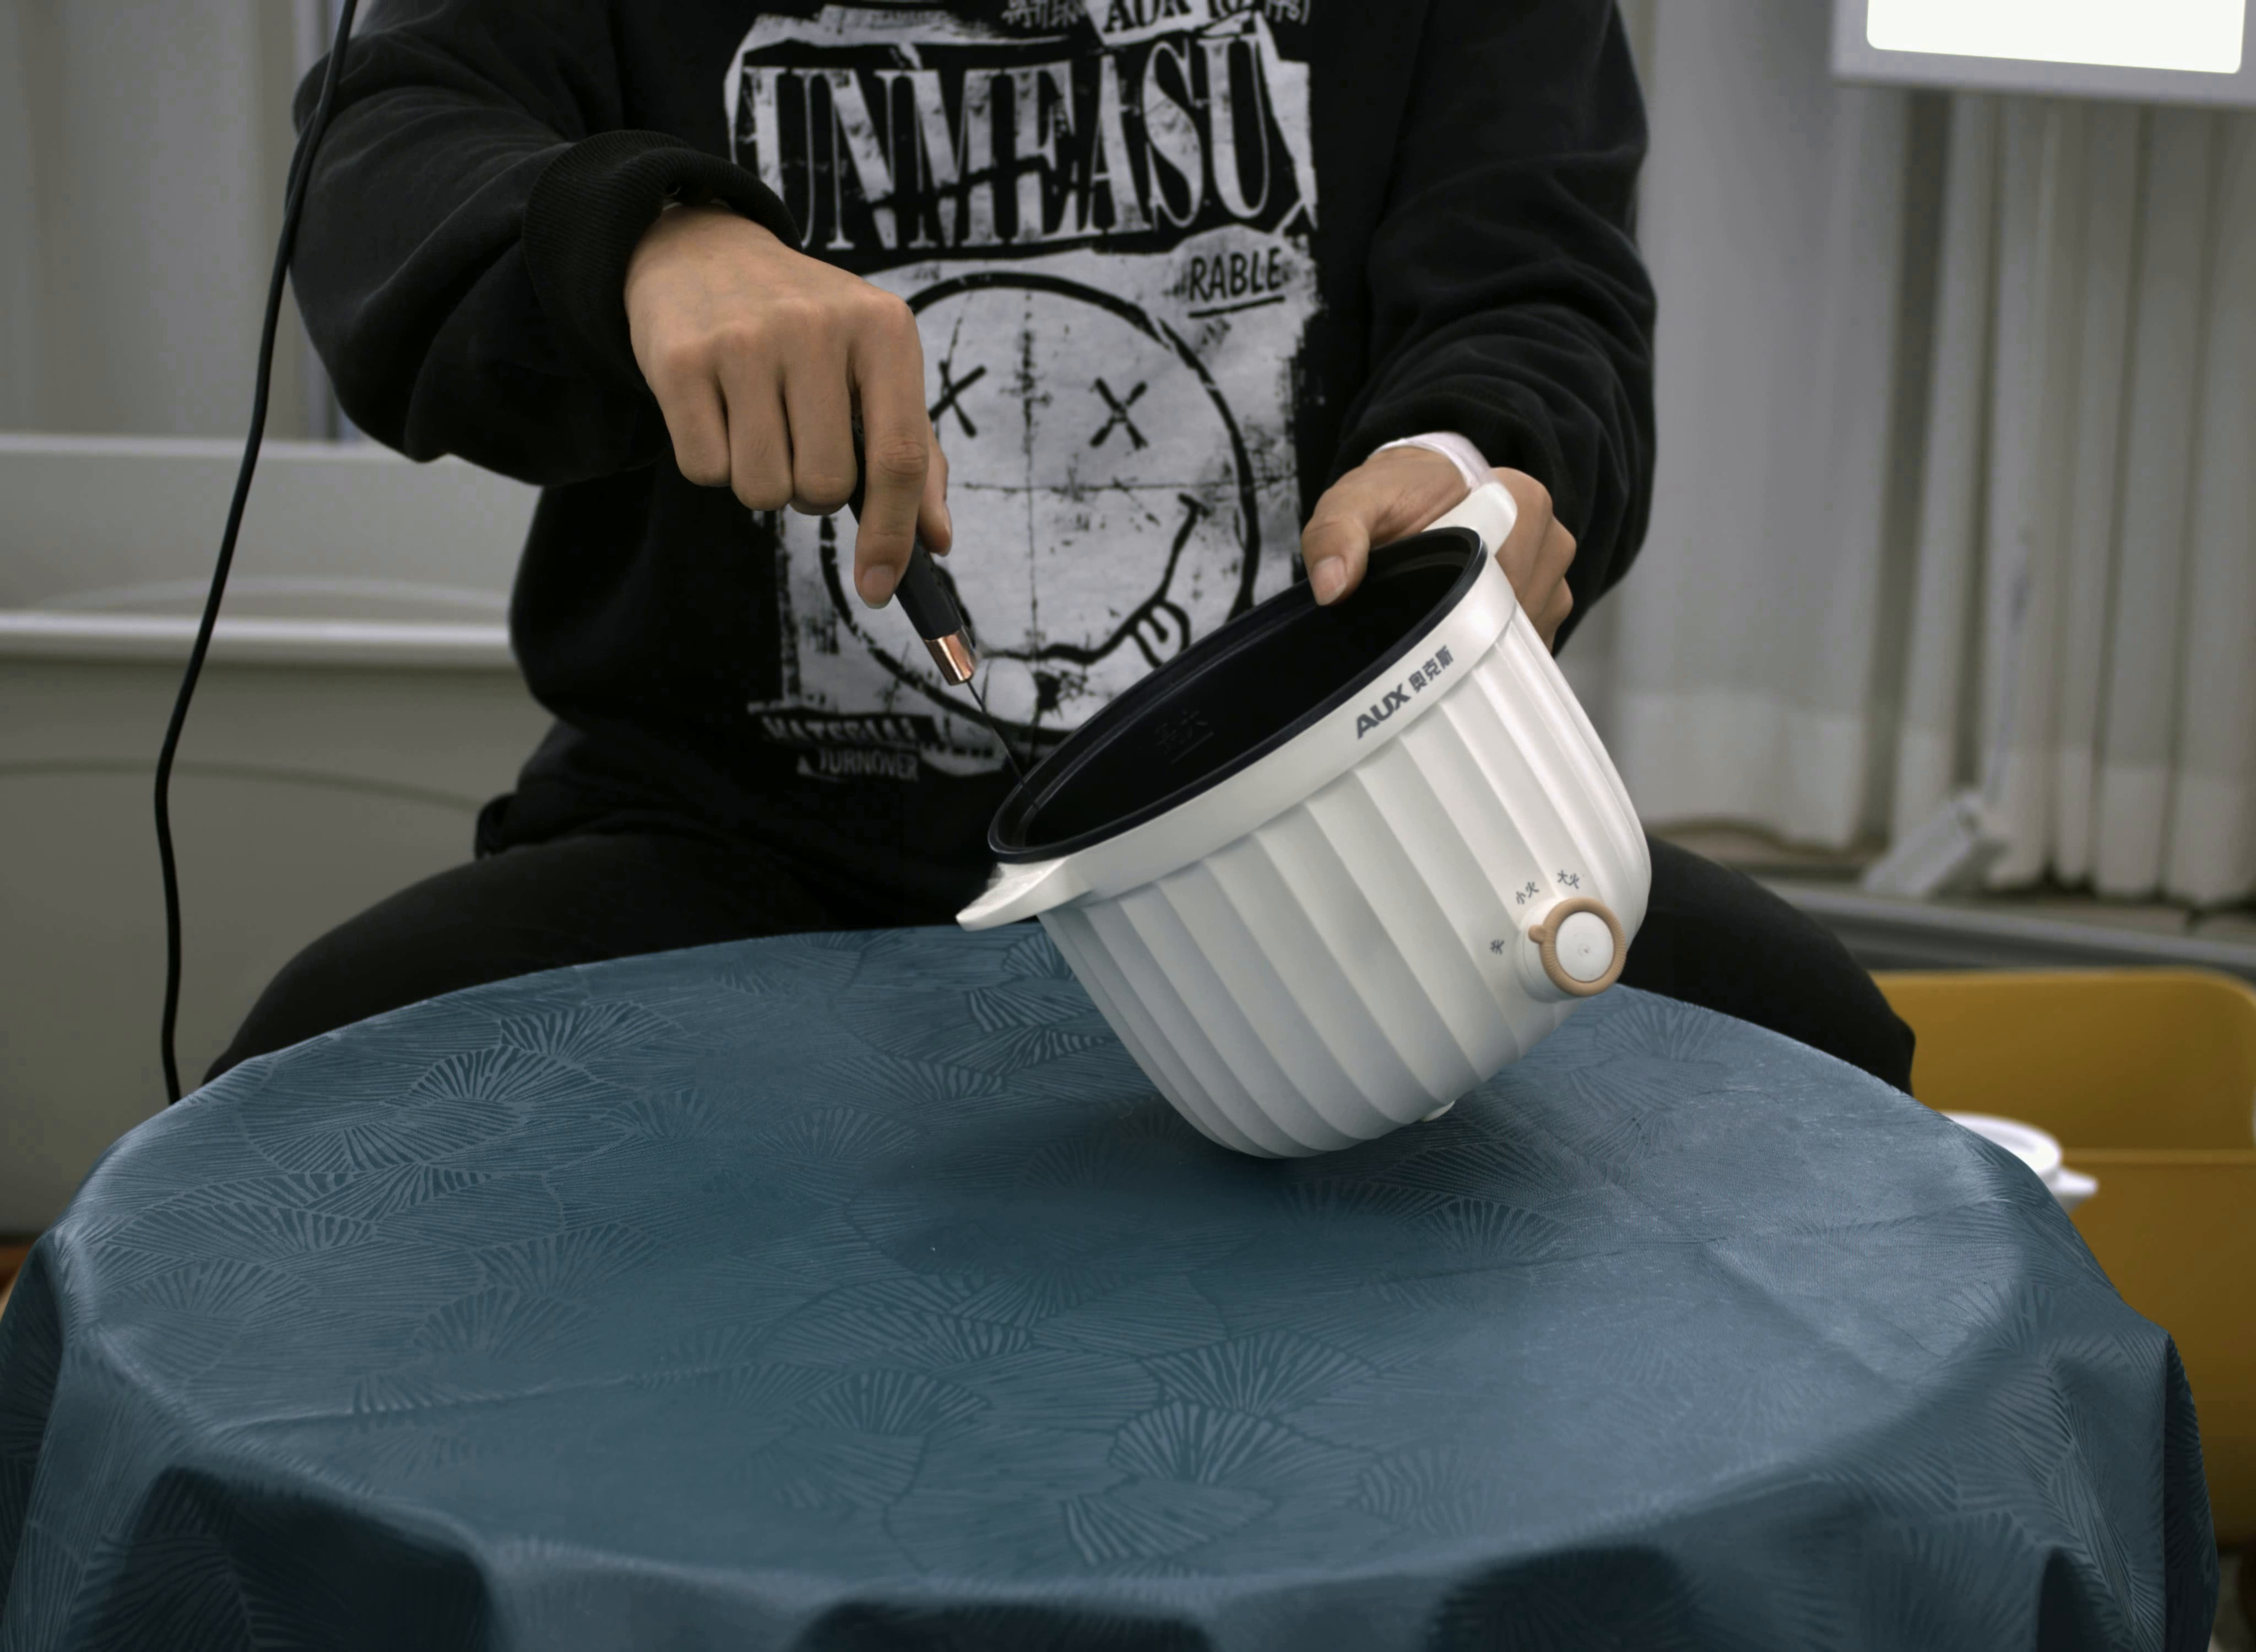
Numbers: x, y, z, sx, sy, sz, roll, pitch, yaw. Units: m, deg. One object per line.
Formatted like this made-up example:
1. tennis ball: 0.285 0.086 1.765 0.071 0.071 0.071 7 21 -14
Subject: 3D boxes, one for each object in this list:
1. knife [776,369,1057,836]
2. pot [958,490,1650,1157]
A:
1. knife: -0.051 -0.043 1.658 0.017 0.226 0.026 -30 3 -15
2. pot: 0.071 0.010 1.645 0.240 0.143 0.189 -41 12 -27
